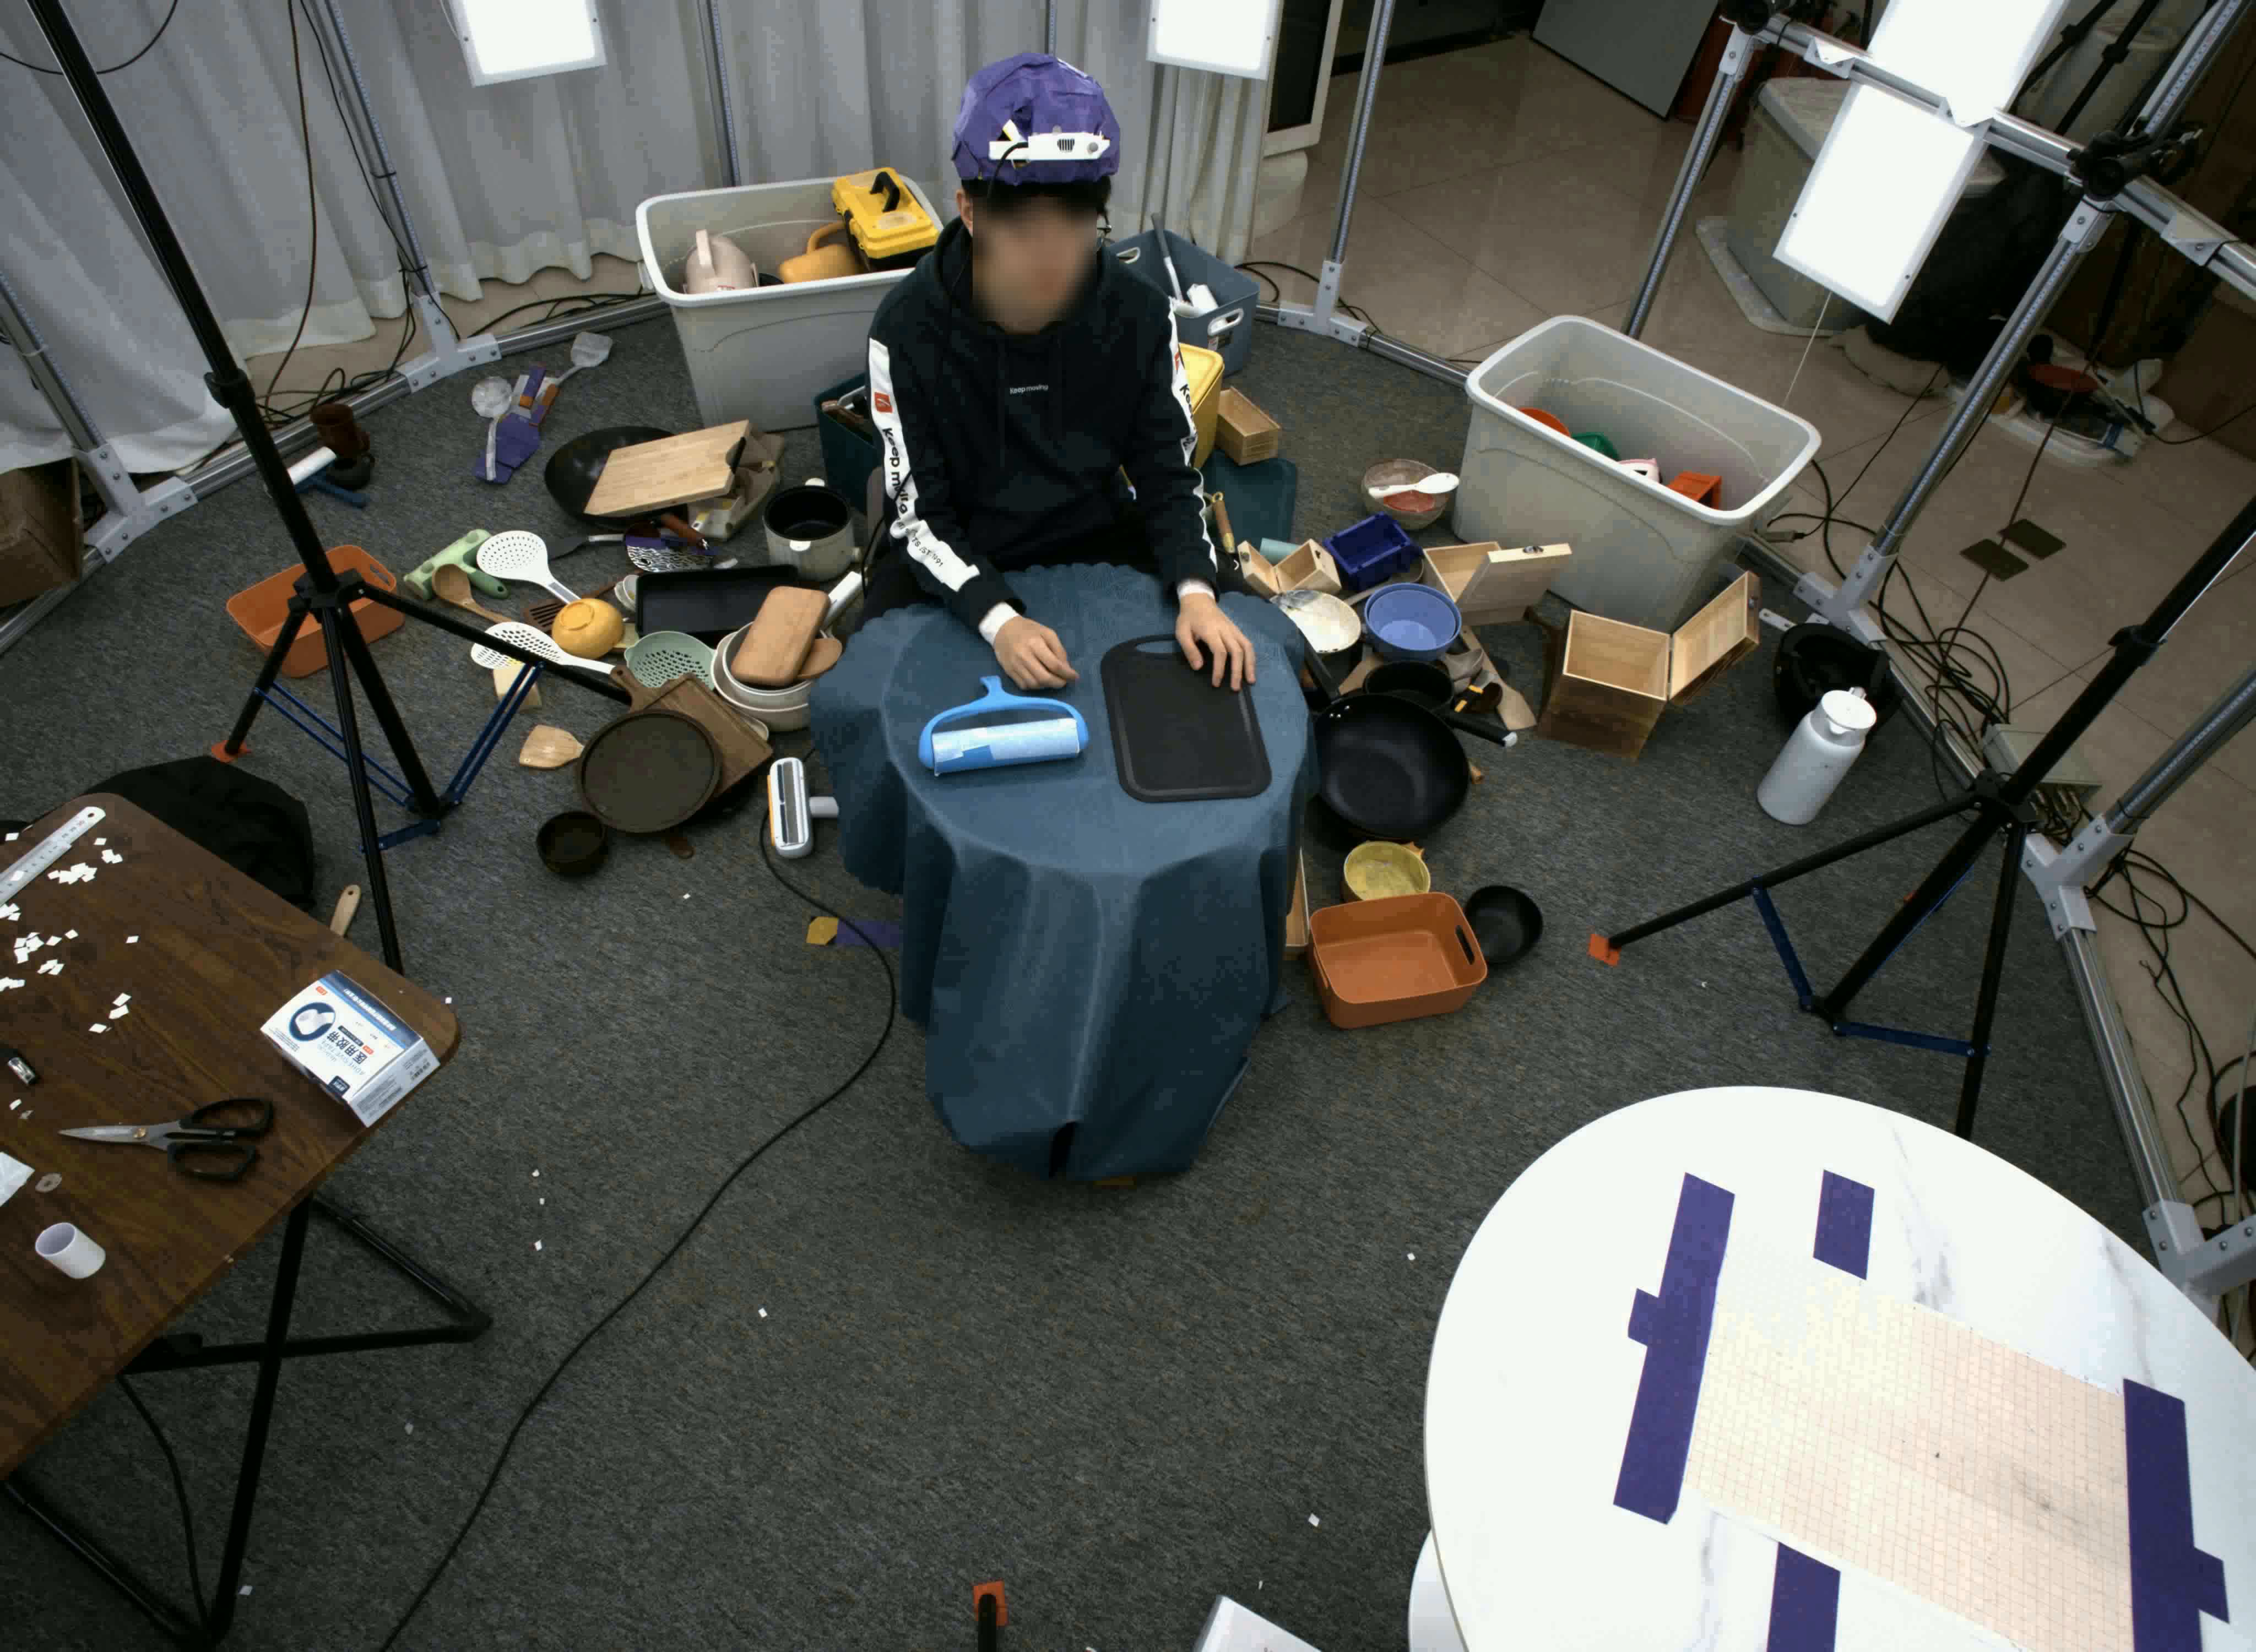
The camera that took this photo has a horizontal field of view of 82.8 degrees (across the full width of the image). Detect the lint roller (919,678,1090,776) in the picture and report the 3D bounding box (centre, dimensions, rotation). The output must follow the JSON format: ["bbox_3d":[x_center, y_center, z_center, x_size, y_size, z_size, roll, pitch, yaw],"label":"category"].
[{"bbox_3d":[-0.178,-0.153,1.752,0.229,0.066,0.185,-11,52,-10],"label":"lint roller"}]

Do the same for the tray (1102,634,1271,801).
[{"bbox_3d":[0.076,-0.161,1.808,0.211,0.009,0.334,-3,49,-6],"label":"tray"}]
